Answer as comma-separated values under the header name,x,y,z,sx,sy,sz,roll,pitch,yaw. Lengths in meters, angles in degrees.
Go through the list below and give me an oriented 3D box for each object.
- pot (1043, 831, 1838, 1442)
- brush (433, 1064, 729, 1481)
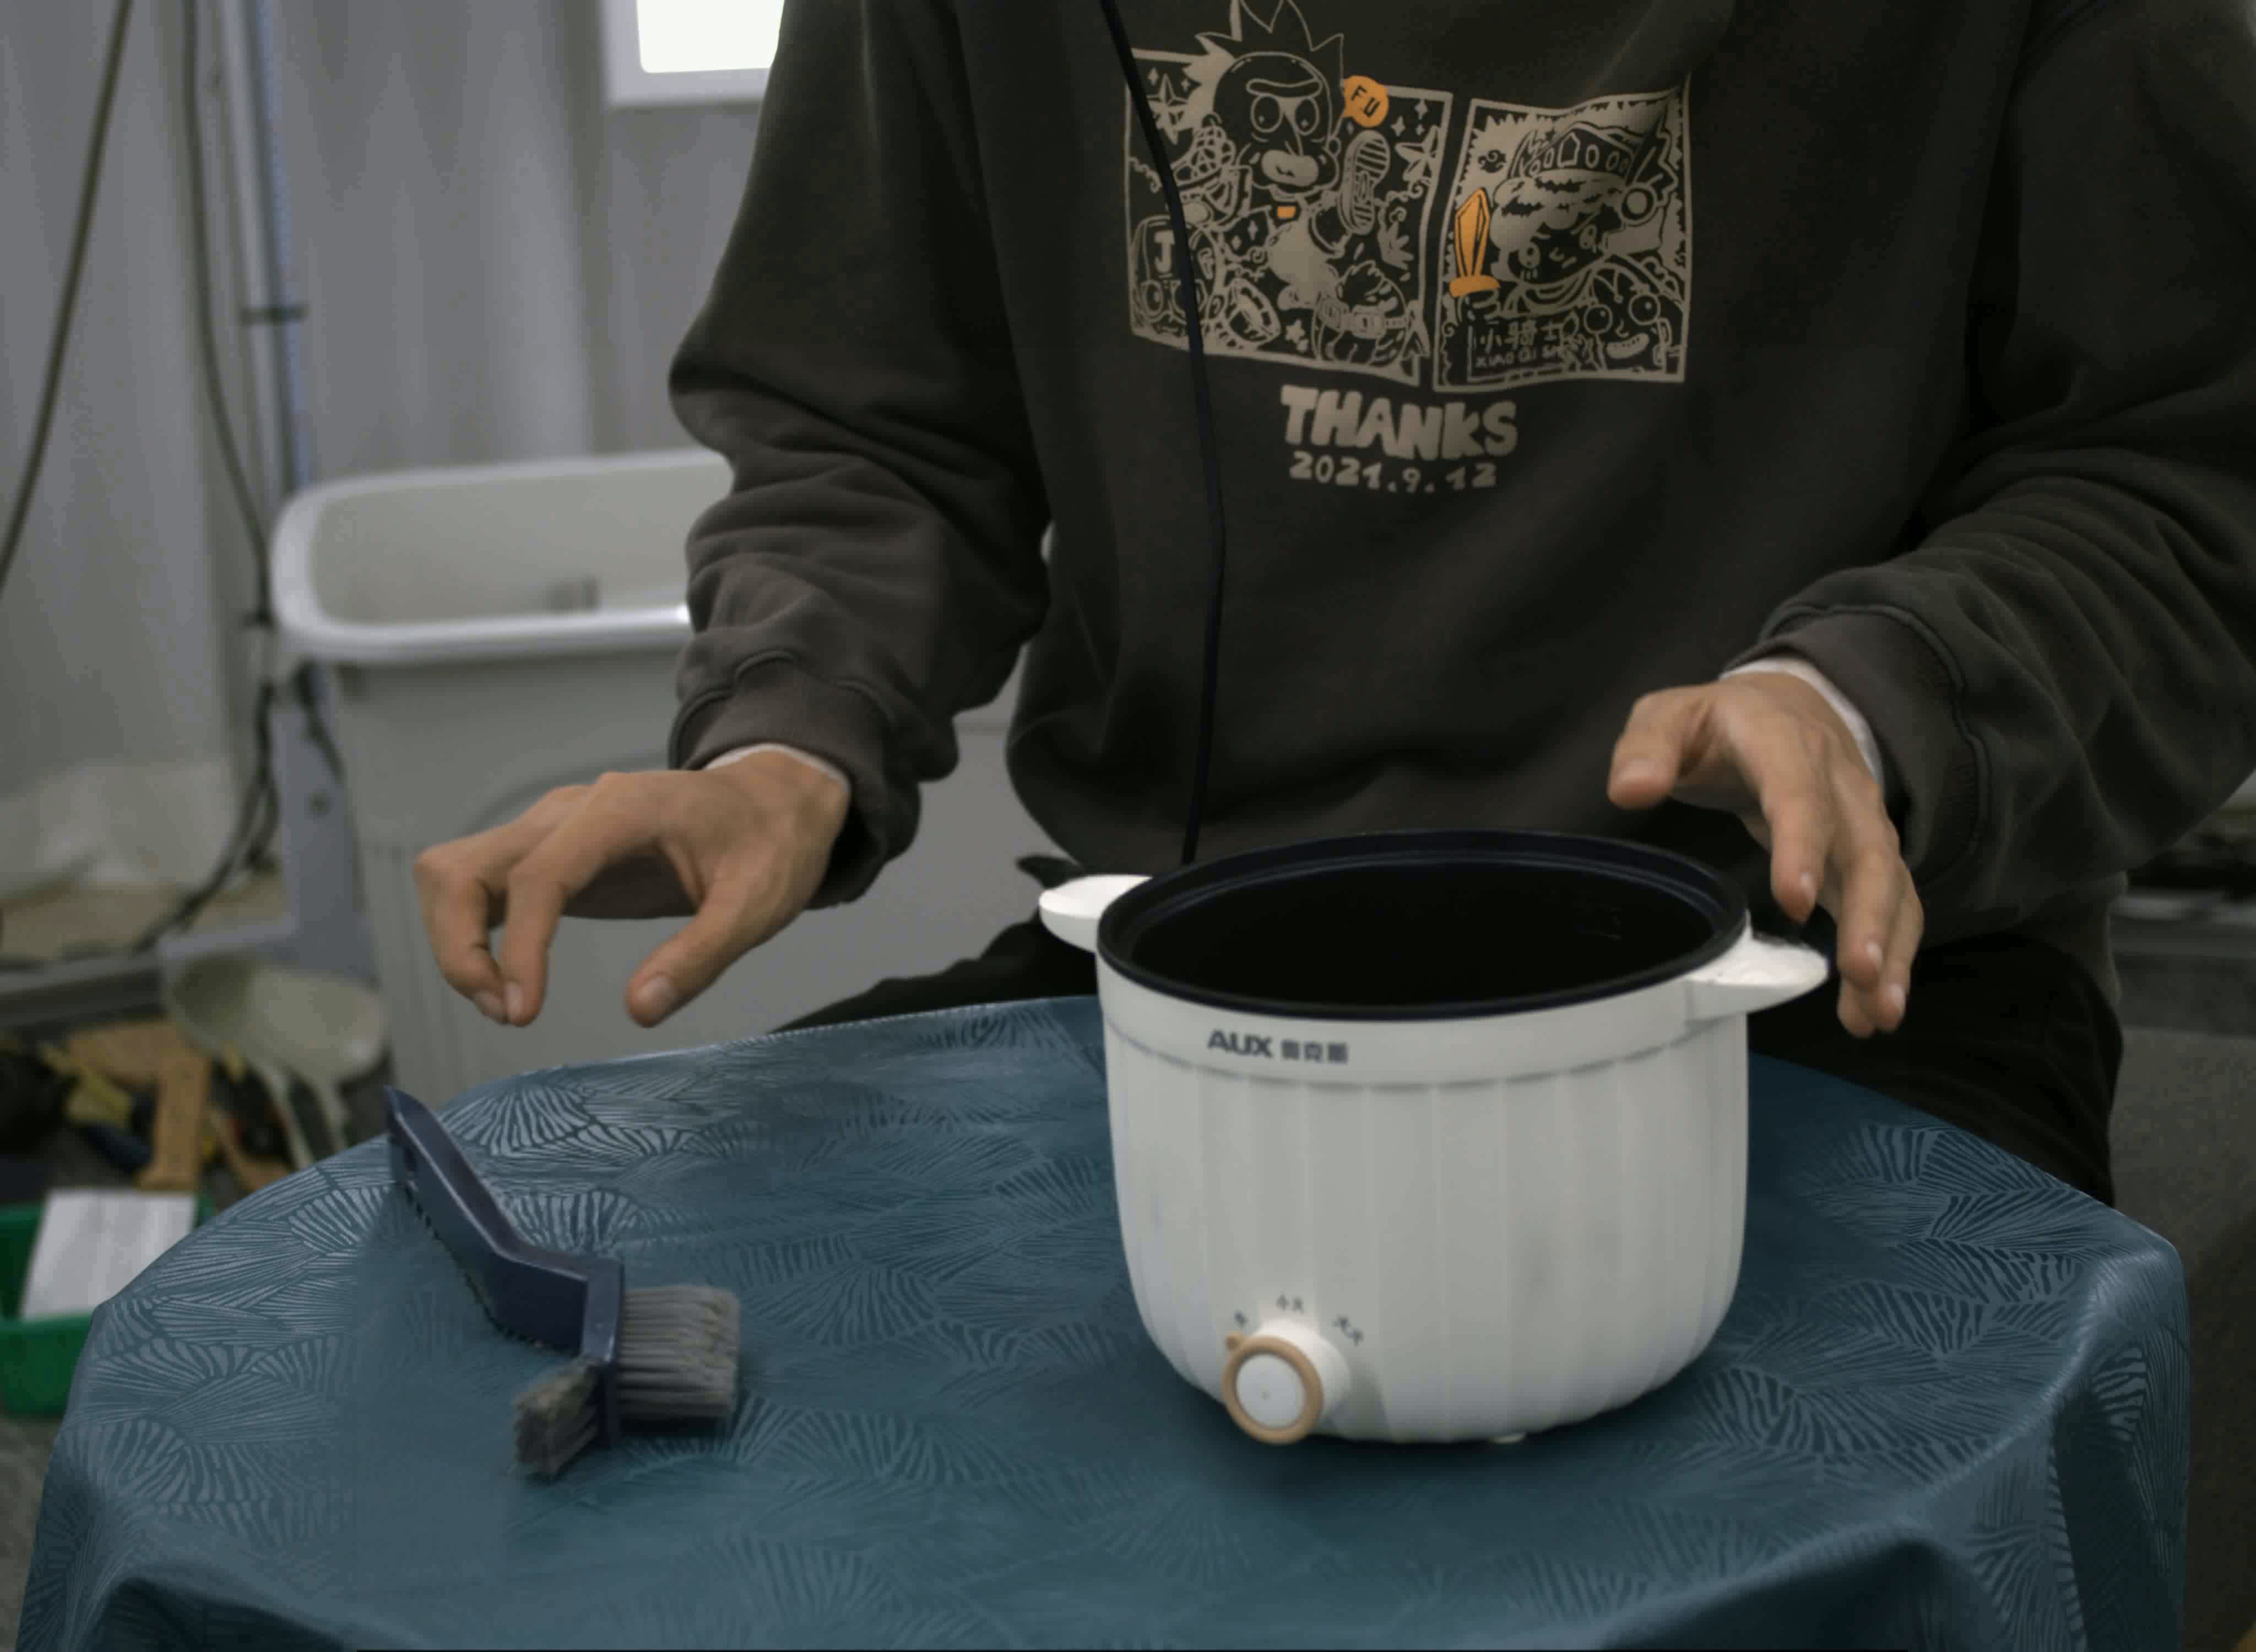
name,x,y,z,sx,sy,sz,roll,pitch,yaw
pot,0.084,0.090,1.531,0.241,0.142,0.190,4,12,29
brush,-0.191,0.129,1.637,0.095,0.033,0.275,-6,17,-25
